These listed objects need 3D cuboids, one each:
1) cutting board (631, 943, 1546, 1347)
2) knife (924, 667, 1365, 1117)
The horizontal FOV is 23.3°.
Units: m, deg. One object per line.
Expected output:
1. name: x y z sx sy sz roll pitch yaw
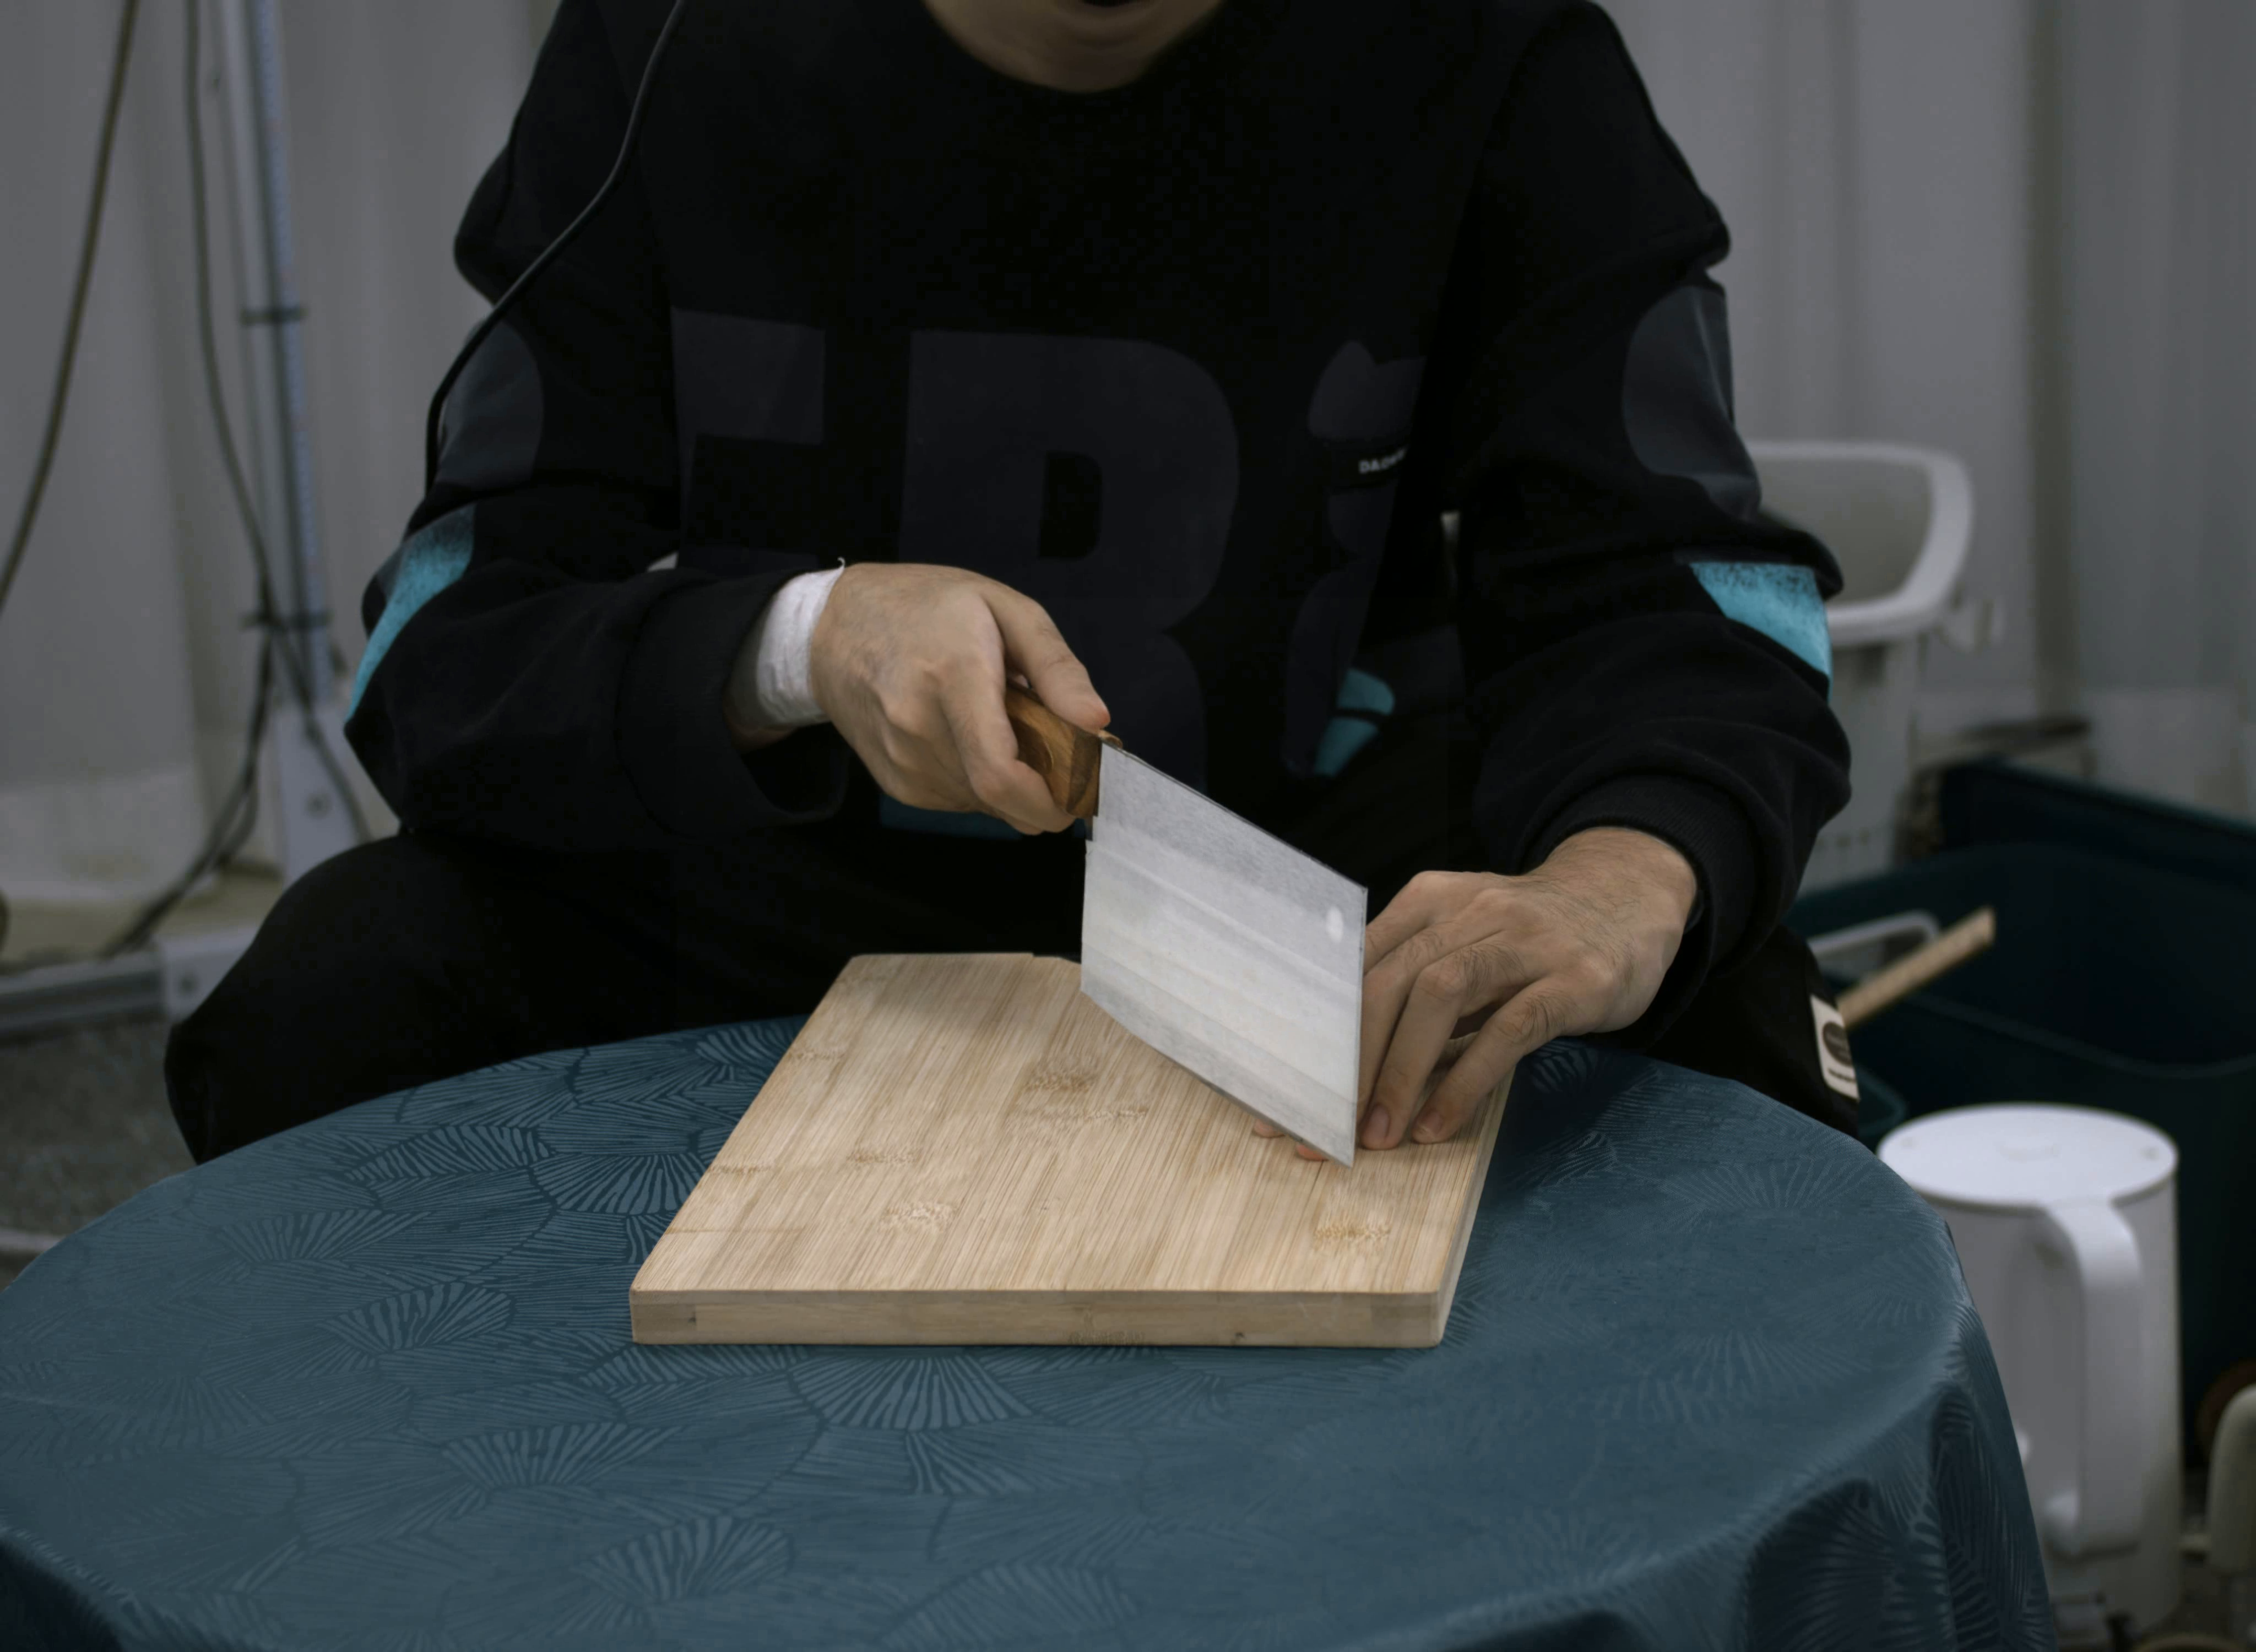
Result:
1. cutting board: -0.001 0.097 1.749 0.250 0.023 0.350 -1 15 8
2. knife: 0.002 0.021 1.756 0.021 0.092 0.308 -5 17 -25
